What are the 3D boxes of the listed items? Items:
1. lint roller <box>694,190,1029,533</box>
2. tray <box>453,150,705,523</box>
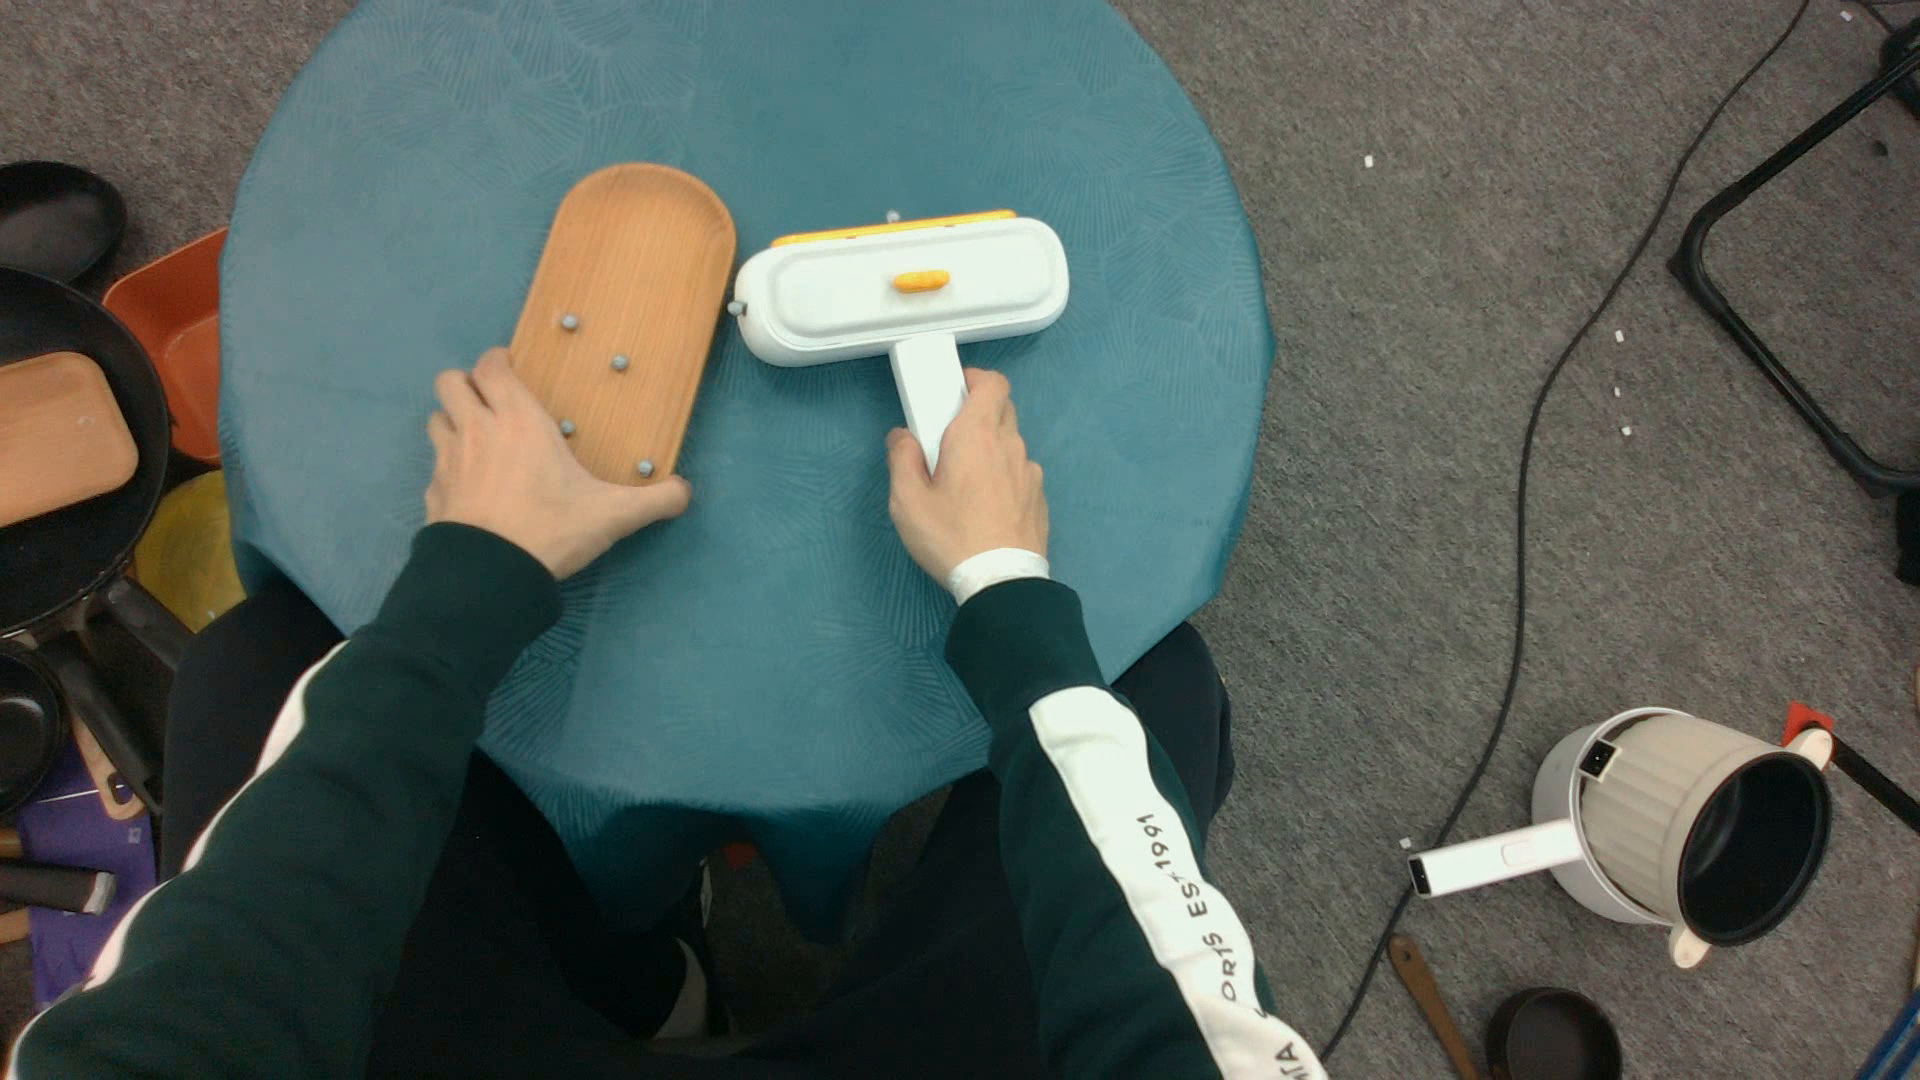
[{"bbox_3d":[-0.033,-0.093,0.759,0.193,0.074,0.192,-15,85,-24],"label":"lint roller"},{"bbox_3d":[-0.205,-0.115,0.752,0.102,0.020,0.232,10,66,-4],"label":"tray"}]
